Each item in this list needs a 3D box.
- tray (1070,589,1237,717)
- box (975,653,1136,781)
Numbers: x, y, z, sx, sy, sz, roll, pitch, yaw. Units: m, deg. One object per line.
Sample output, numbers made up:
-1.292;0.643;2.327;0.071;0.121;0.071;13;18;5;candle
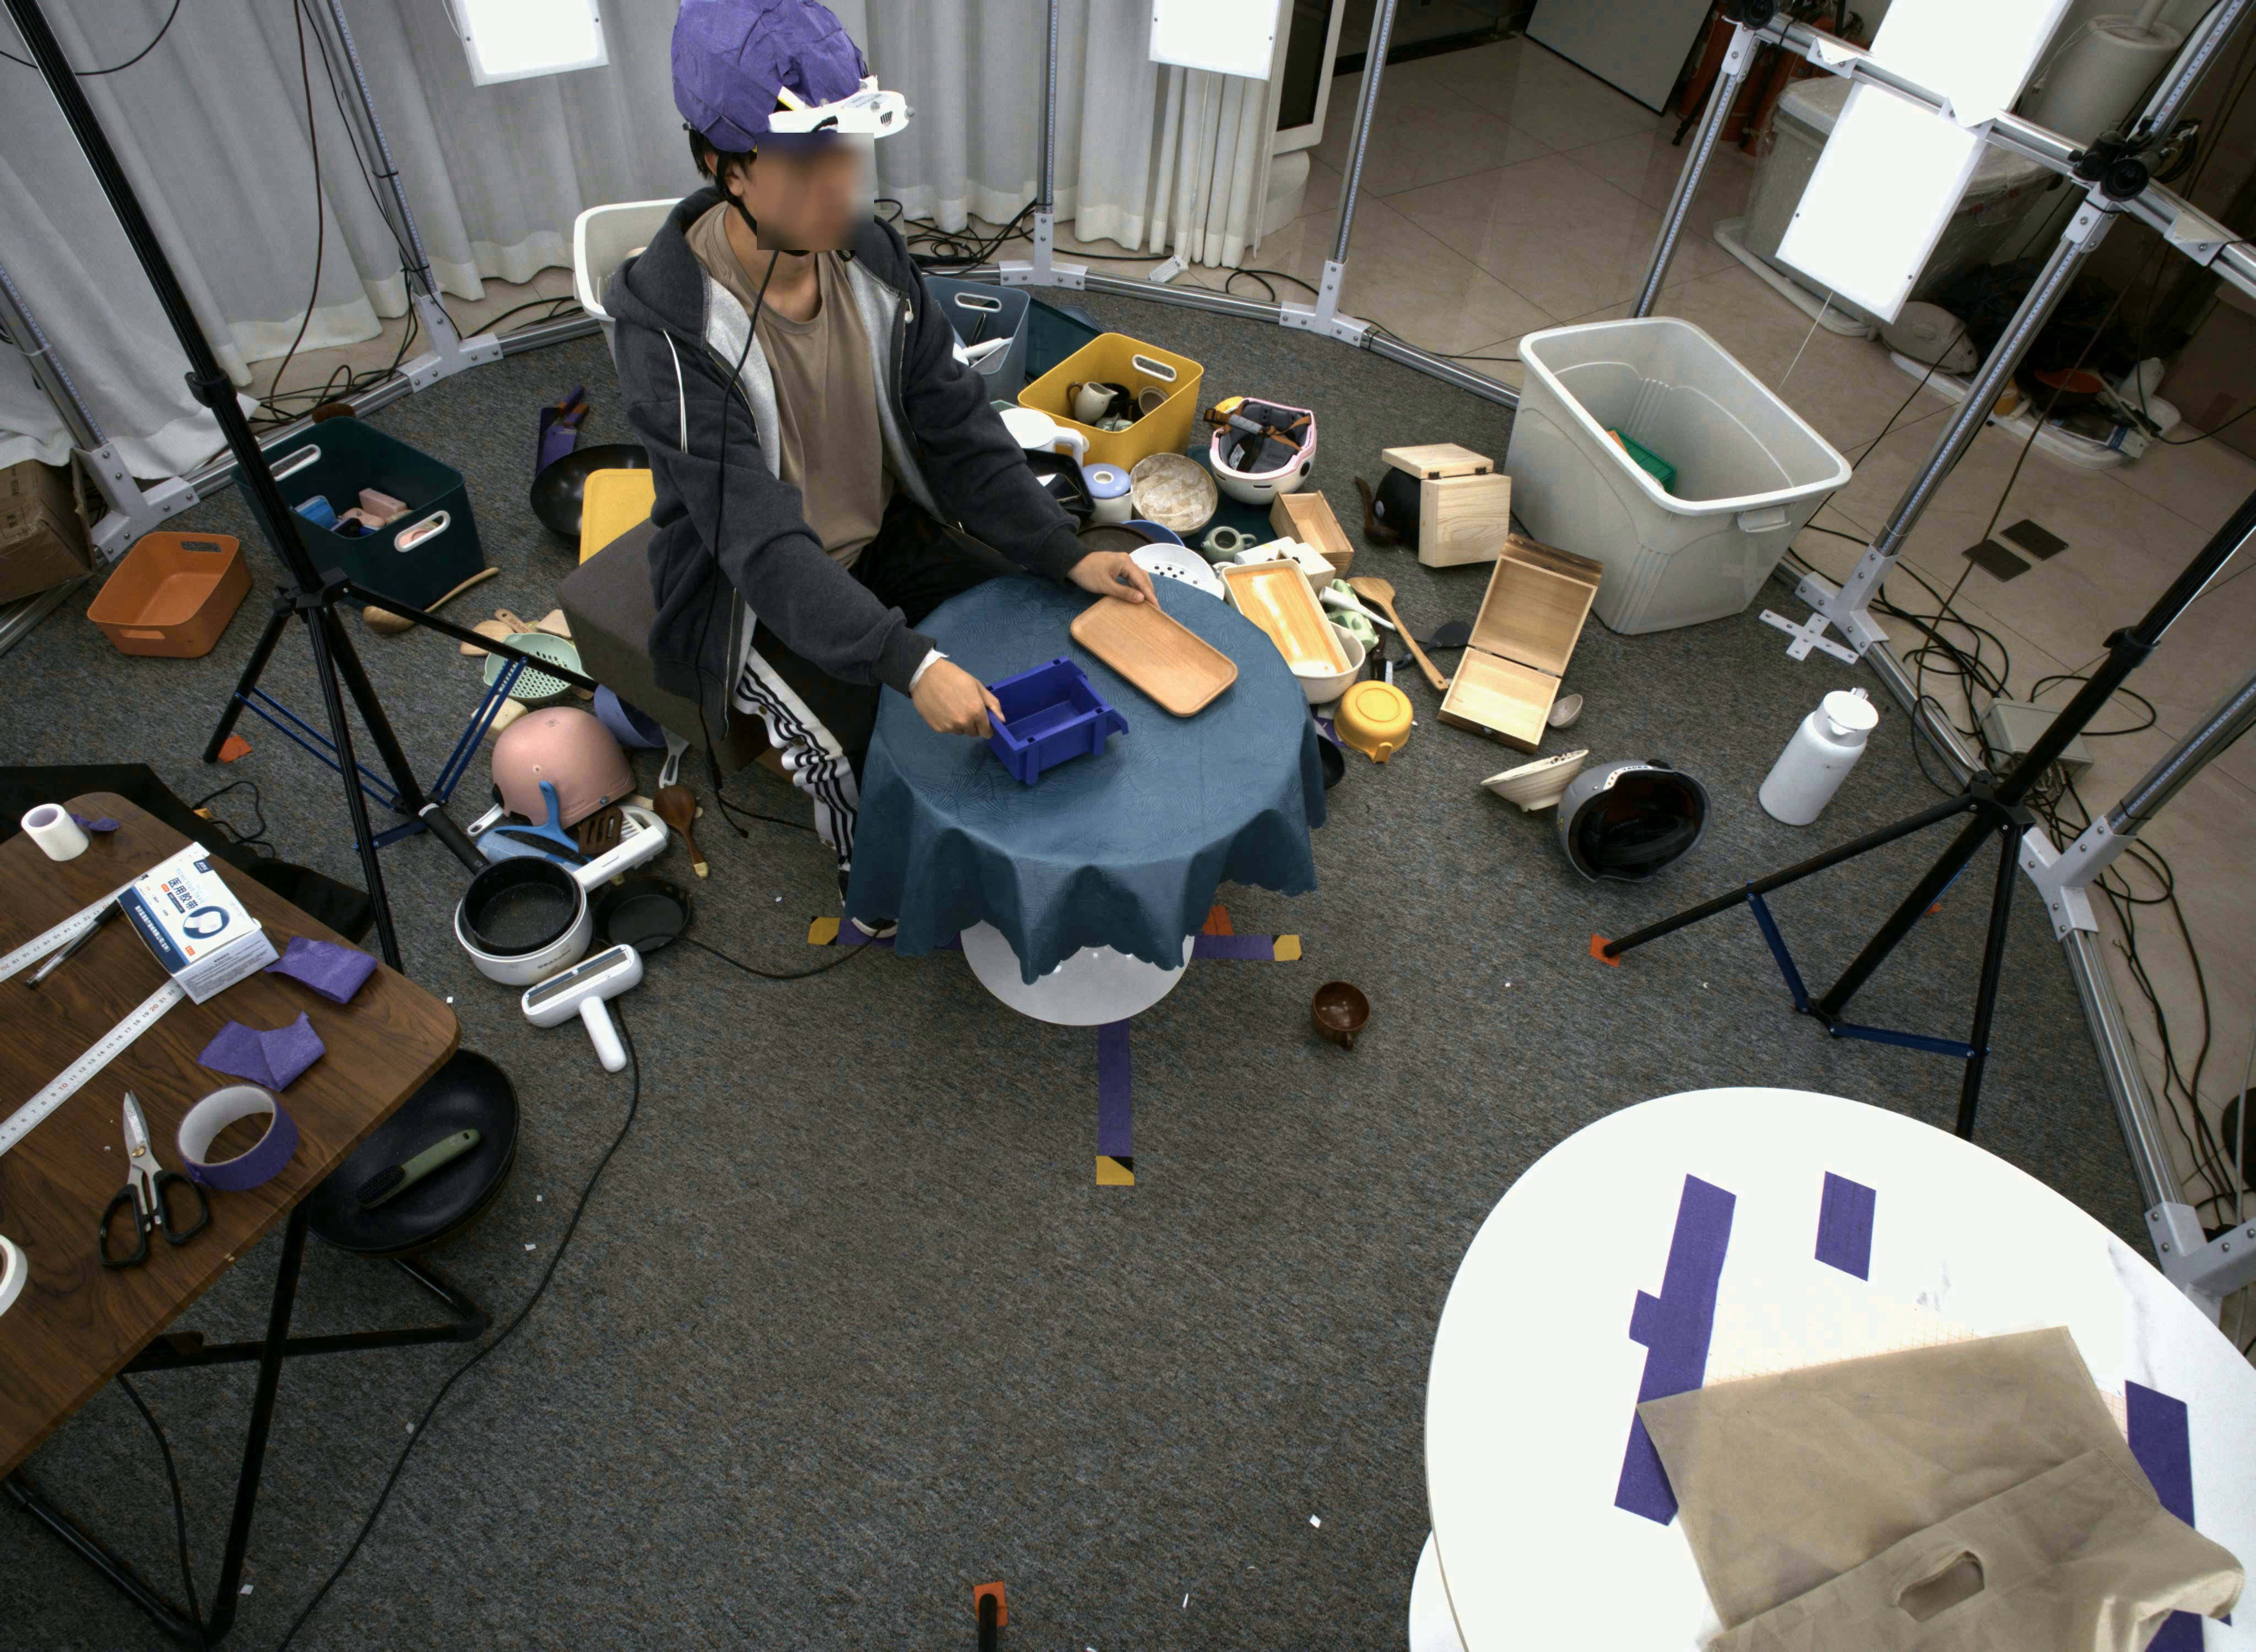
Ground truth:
0.035;-0.253;1.868;0.131;0.022;0.254;-37;60;-25;tray
-0.097;-0.151;1.721;0.180;0.080;0.127;-25;55;-19;box
